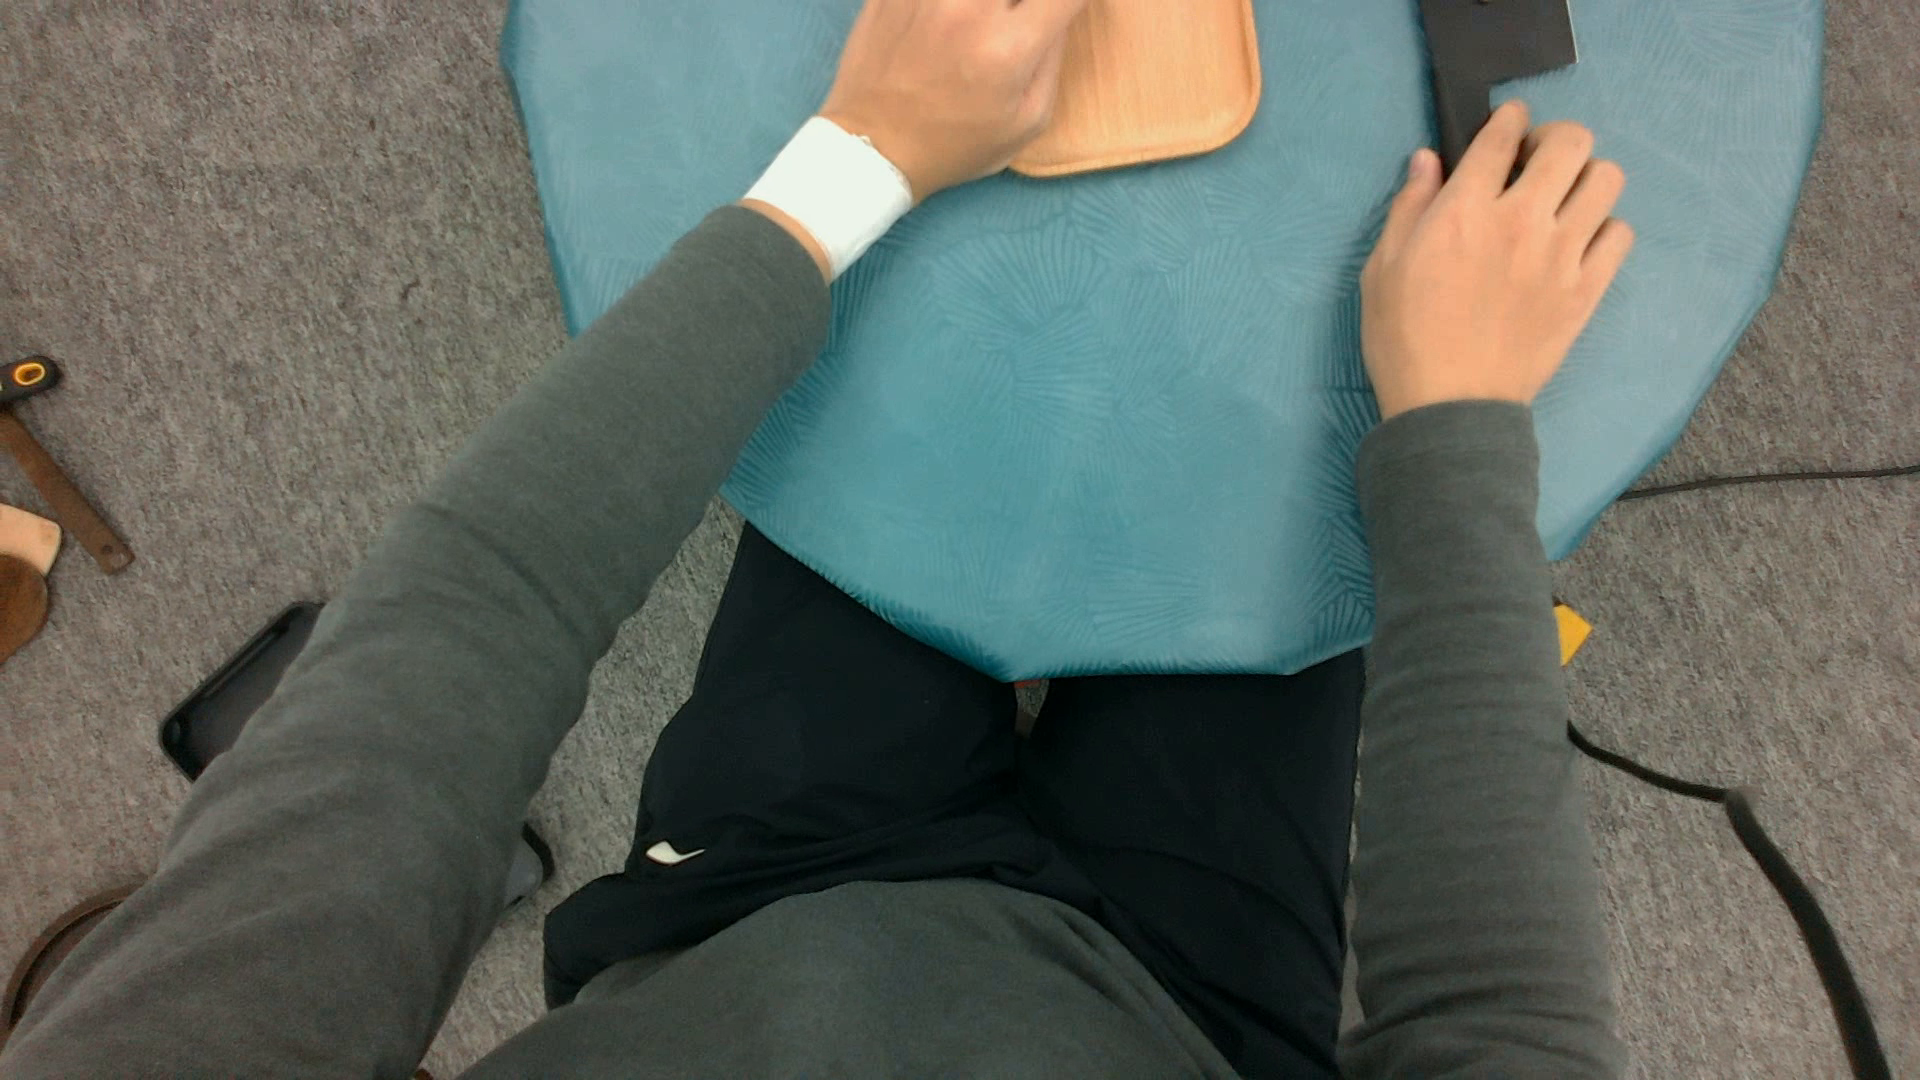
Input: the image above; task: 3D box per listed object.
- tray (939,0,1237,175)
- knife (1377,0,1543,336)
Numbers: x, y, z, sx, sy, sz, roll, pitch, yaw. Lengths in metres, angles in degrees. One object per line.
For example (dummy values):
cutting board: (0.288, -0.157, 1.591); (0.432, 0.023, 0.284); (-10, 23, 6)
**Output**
tray: (0.048, -0.295, 0.630); (0.130, 0.023, 0.250); (-8, 91, 3)
knife: (0.227, -0.242, 0.631); (0.081, 0.021, 0.302); (-8, 88, -1)
